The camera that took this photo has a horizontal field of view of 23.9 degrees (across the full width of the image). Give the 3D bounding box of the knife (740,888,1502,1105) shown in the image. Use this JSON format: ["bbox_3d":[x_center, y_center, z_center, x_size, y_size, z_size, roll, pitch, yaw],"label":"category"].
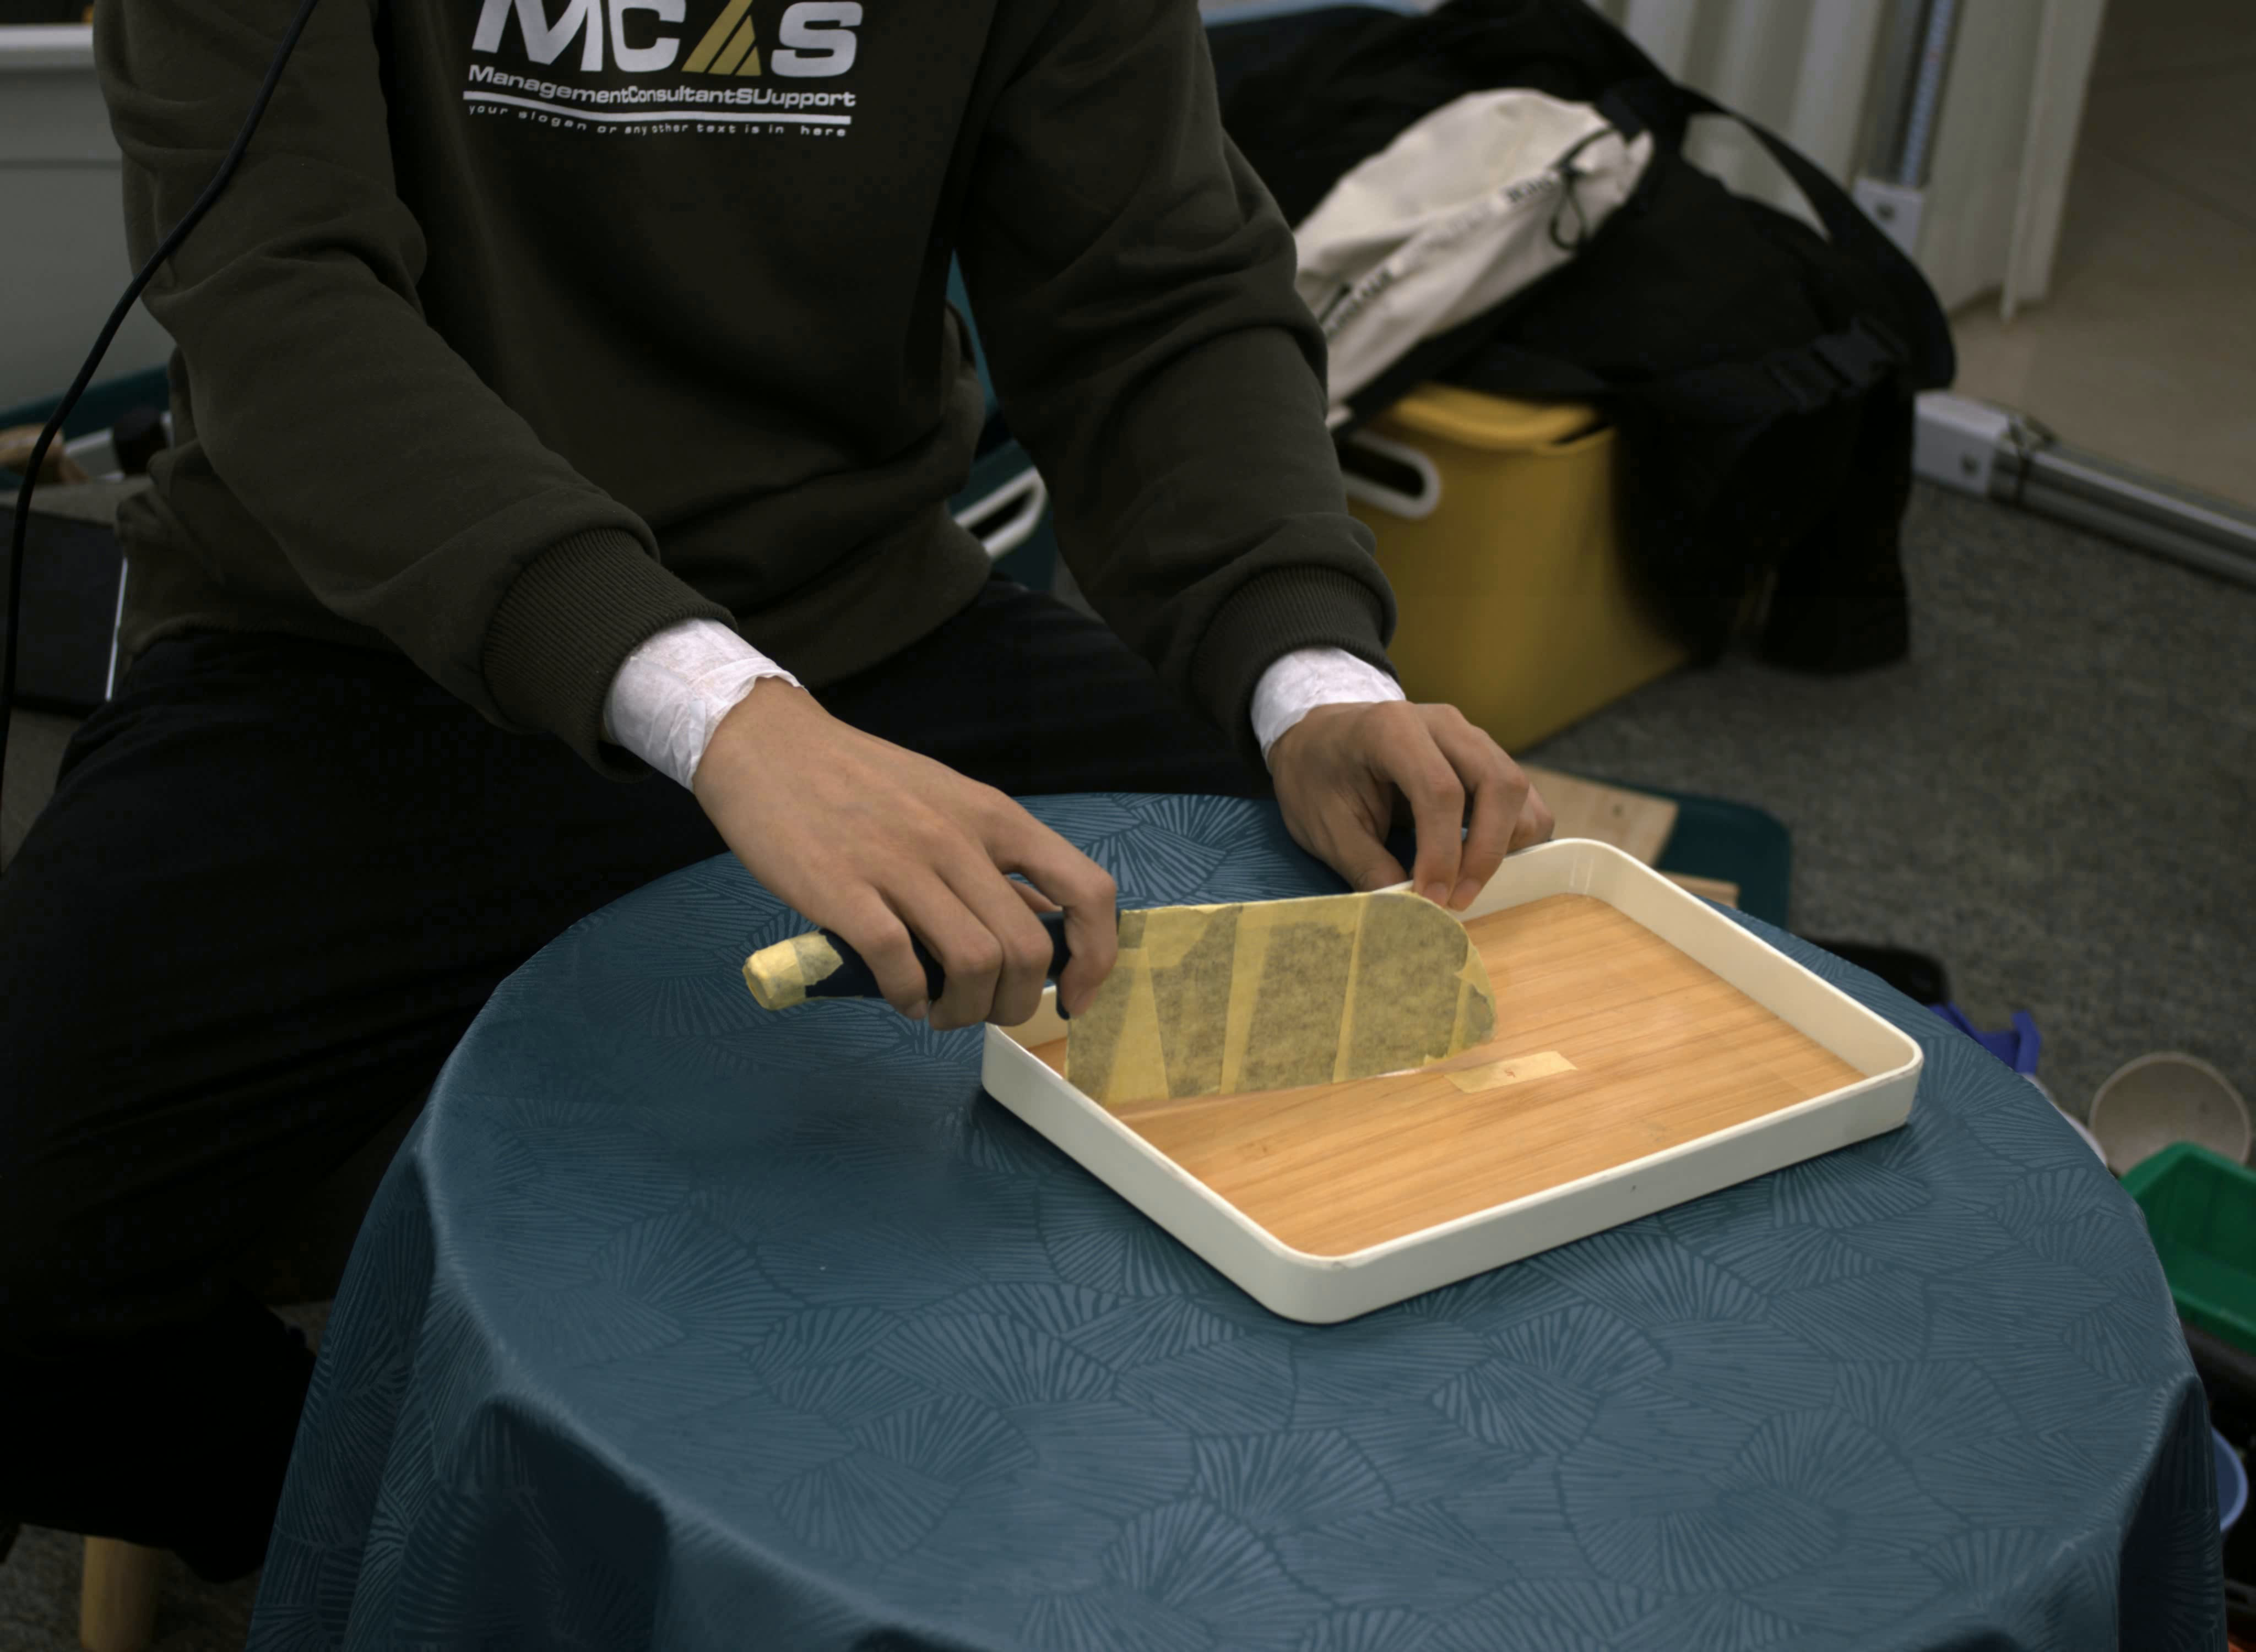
[{"bbox_3d":[0.002,0.059,1.823,0.287,0.081,0.027,0,18,-24],"label":"knife"}]

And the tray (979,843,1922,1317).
[{"bbox_3d":[0.115,0.085,1.877,0.298,0.027,0.193,-15,33,-36],"label":"tray"}]
